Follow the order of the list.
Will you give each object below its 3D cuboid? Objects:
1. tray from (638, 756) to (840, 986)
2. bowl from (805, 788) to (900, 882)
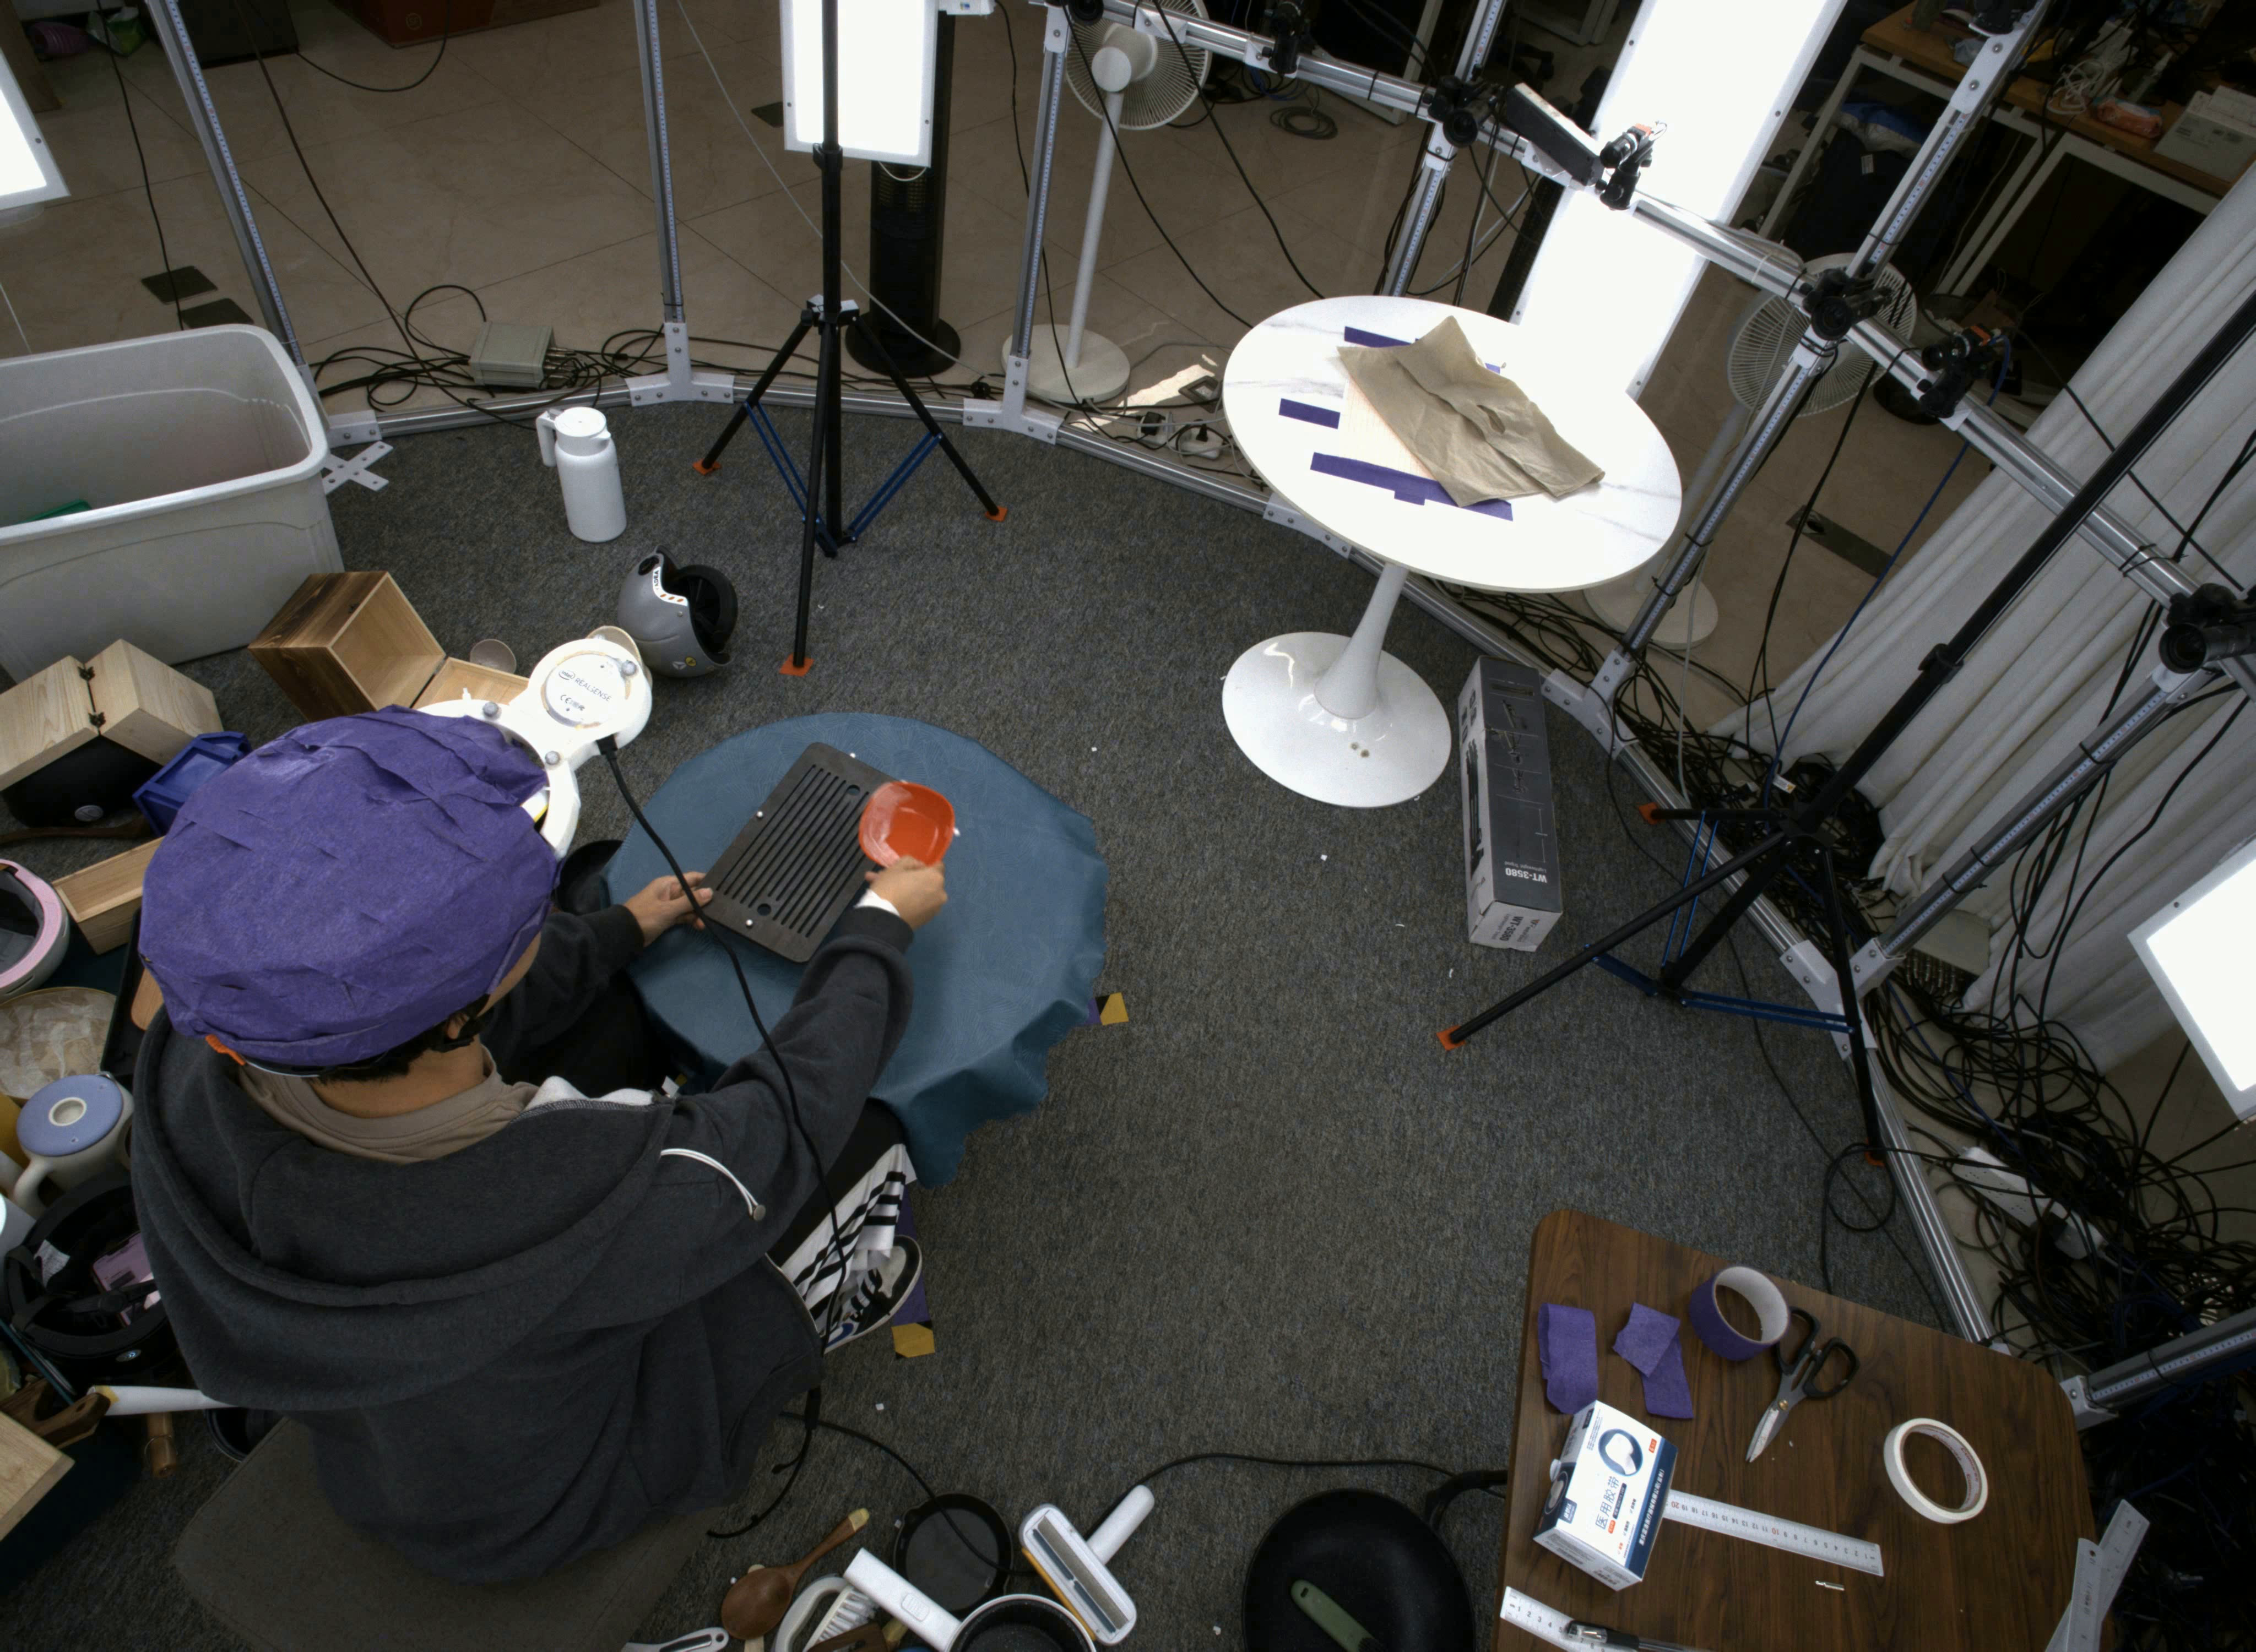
[{"bbox_3d":[-0.466,0.050,1.629,0.169,0.019,0.303,25,53,-1],"label":"tray"},{"bbox_3d":[-0.327,0.015,1.557,0.118,0.051,0.119,2,77,-6],"label":"bowl"}]
